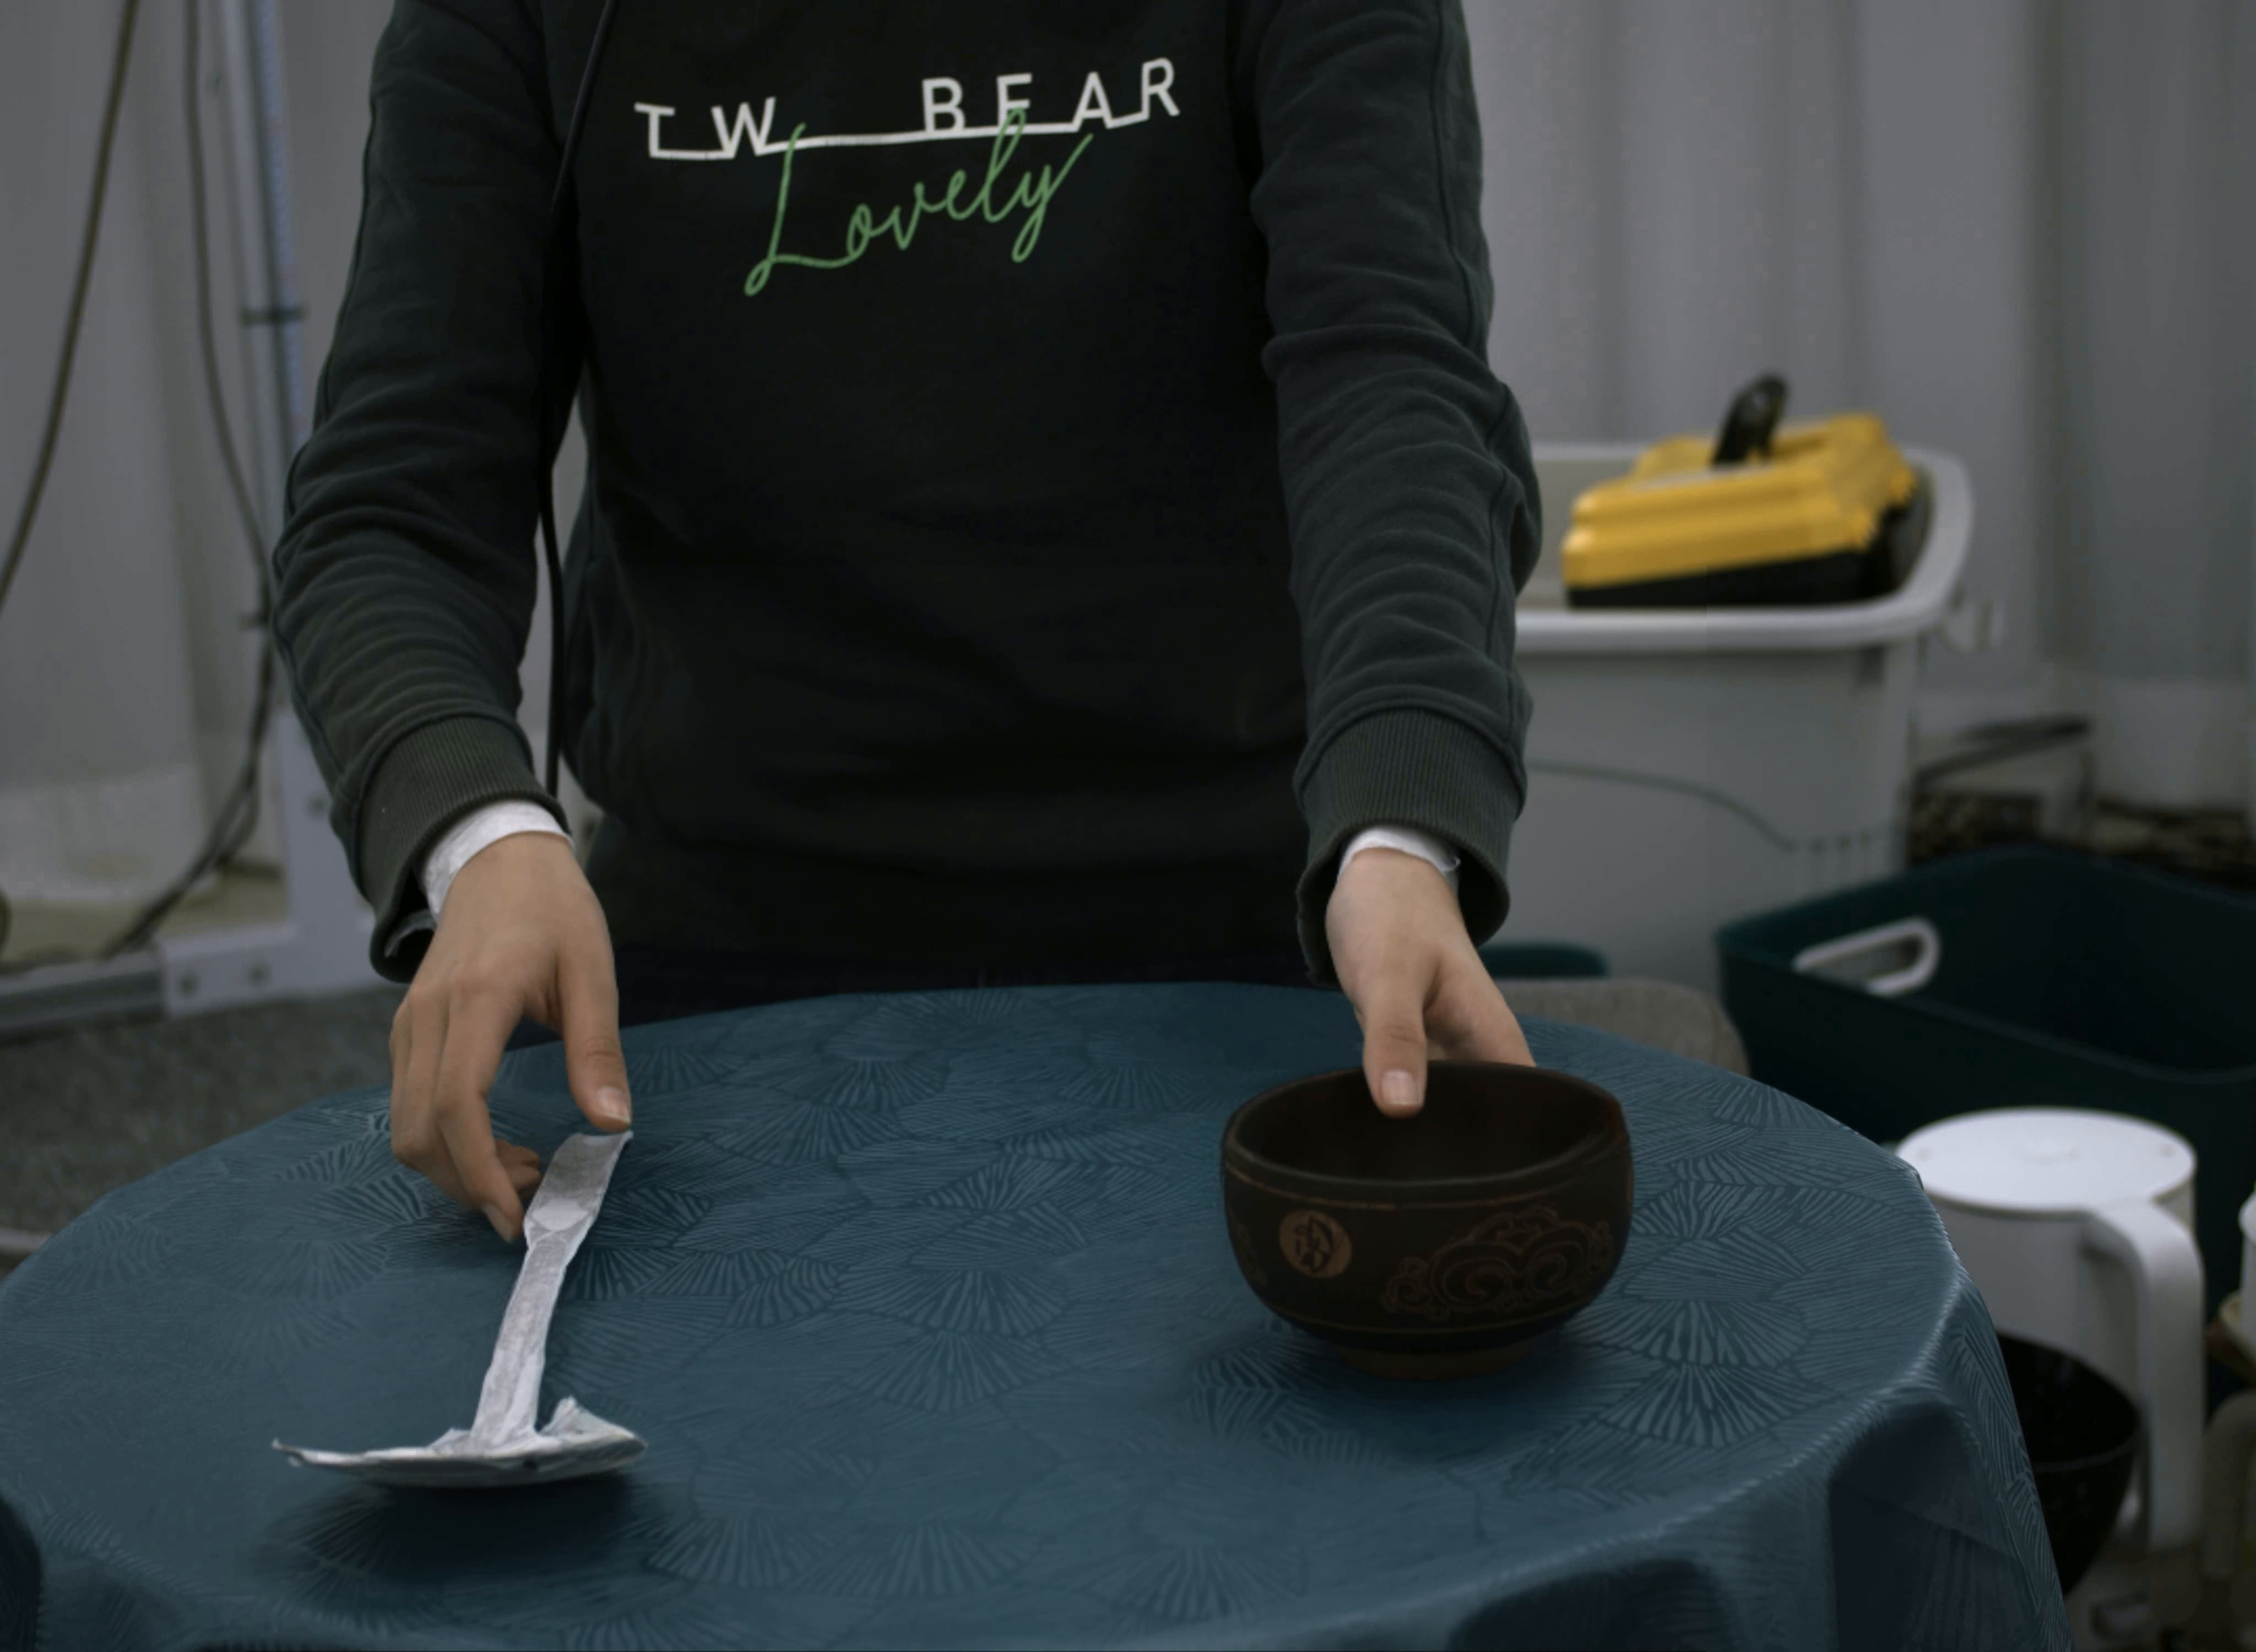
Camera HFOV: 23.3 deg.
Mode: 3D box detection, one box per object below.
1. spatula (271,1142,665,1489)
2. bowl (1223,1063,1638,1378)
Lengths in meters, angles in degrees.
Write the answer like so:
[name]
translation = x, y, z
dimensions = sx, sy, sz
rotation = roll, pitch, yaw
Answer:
[spatula]
translation = -0.170, 0.134, 1.599
dimensions = 0.098, 0.044, 0.367
rotation = -4, 15, 3
[bowl]
translation = 0.086, 0.116, 1.558
dimensions = 0.117, 0.069, 0.118
rotation = -2, 12, 0
